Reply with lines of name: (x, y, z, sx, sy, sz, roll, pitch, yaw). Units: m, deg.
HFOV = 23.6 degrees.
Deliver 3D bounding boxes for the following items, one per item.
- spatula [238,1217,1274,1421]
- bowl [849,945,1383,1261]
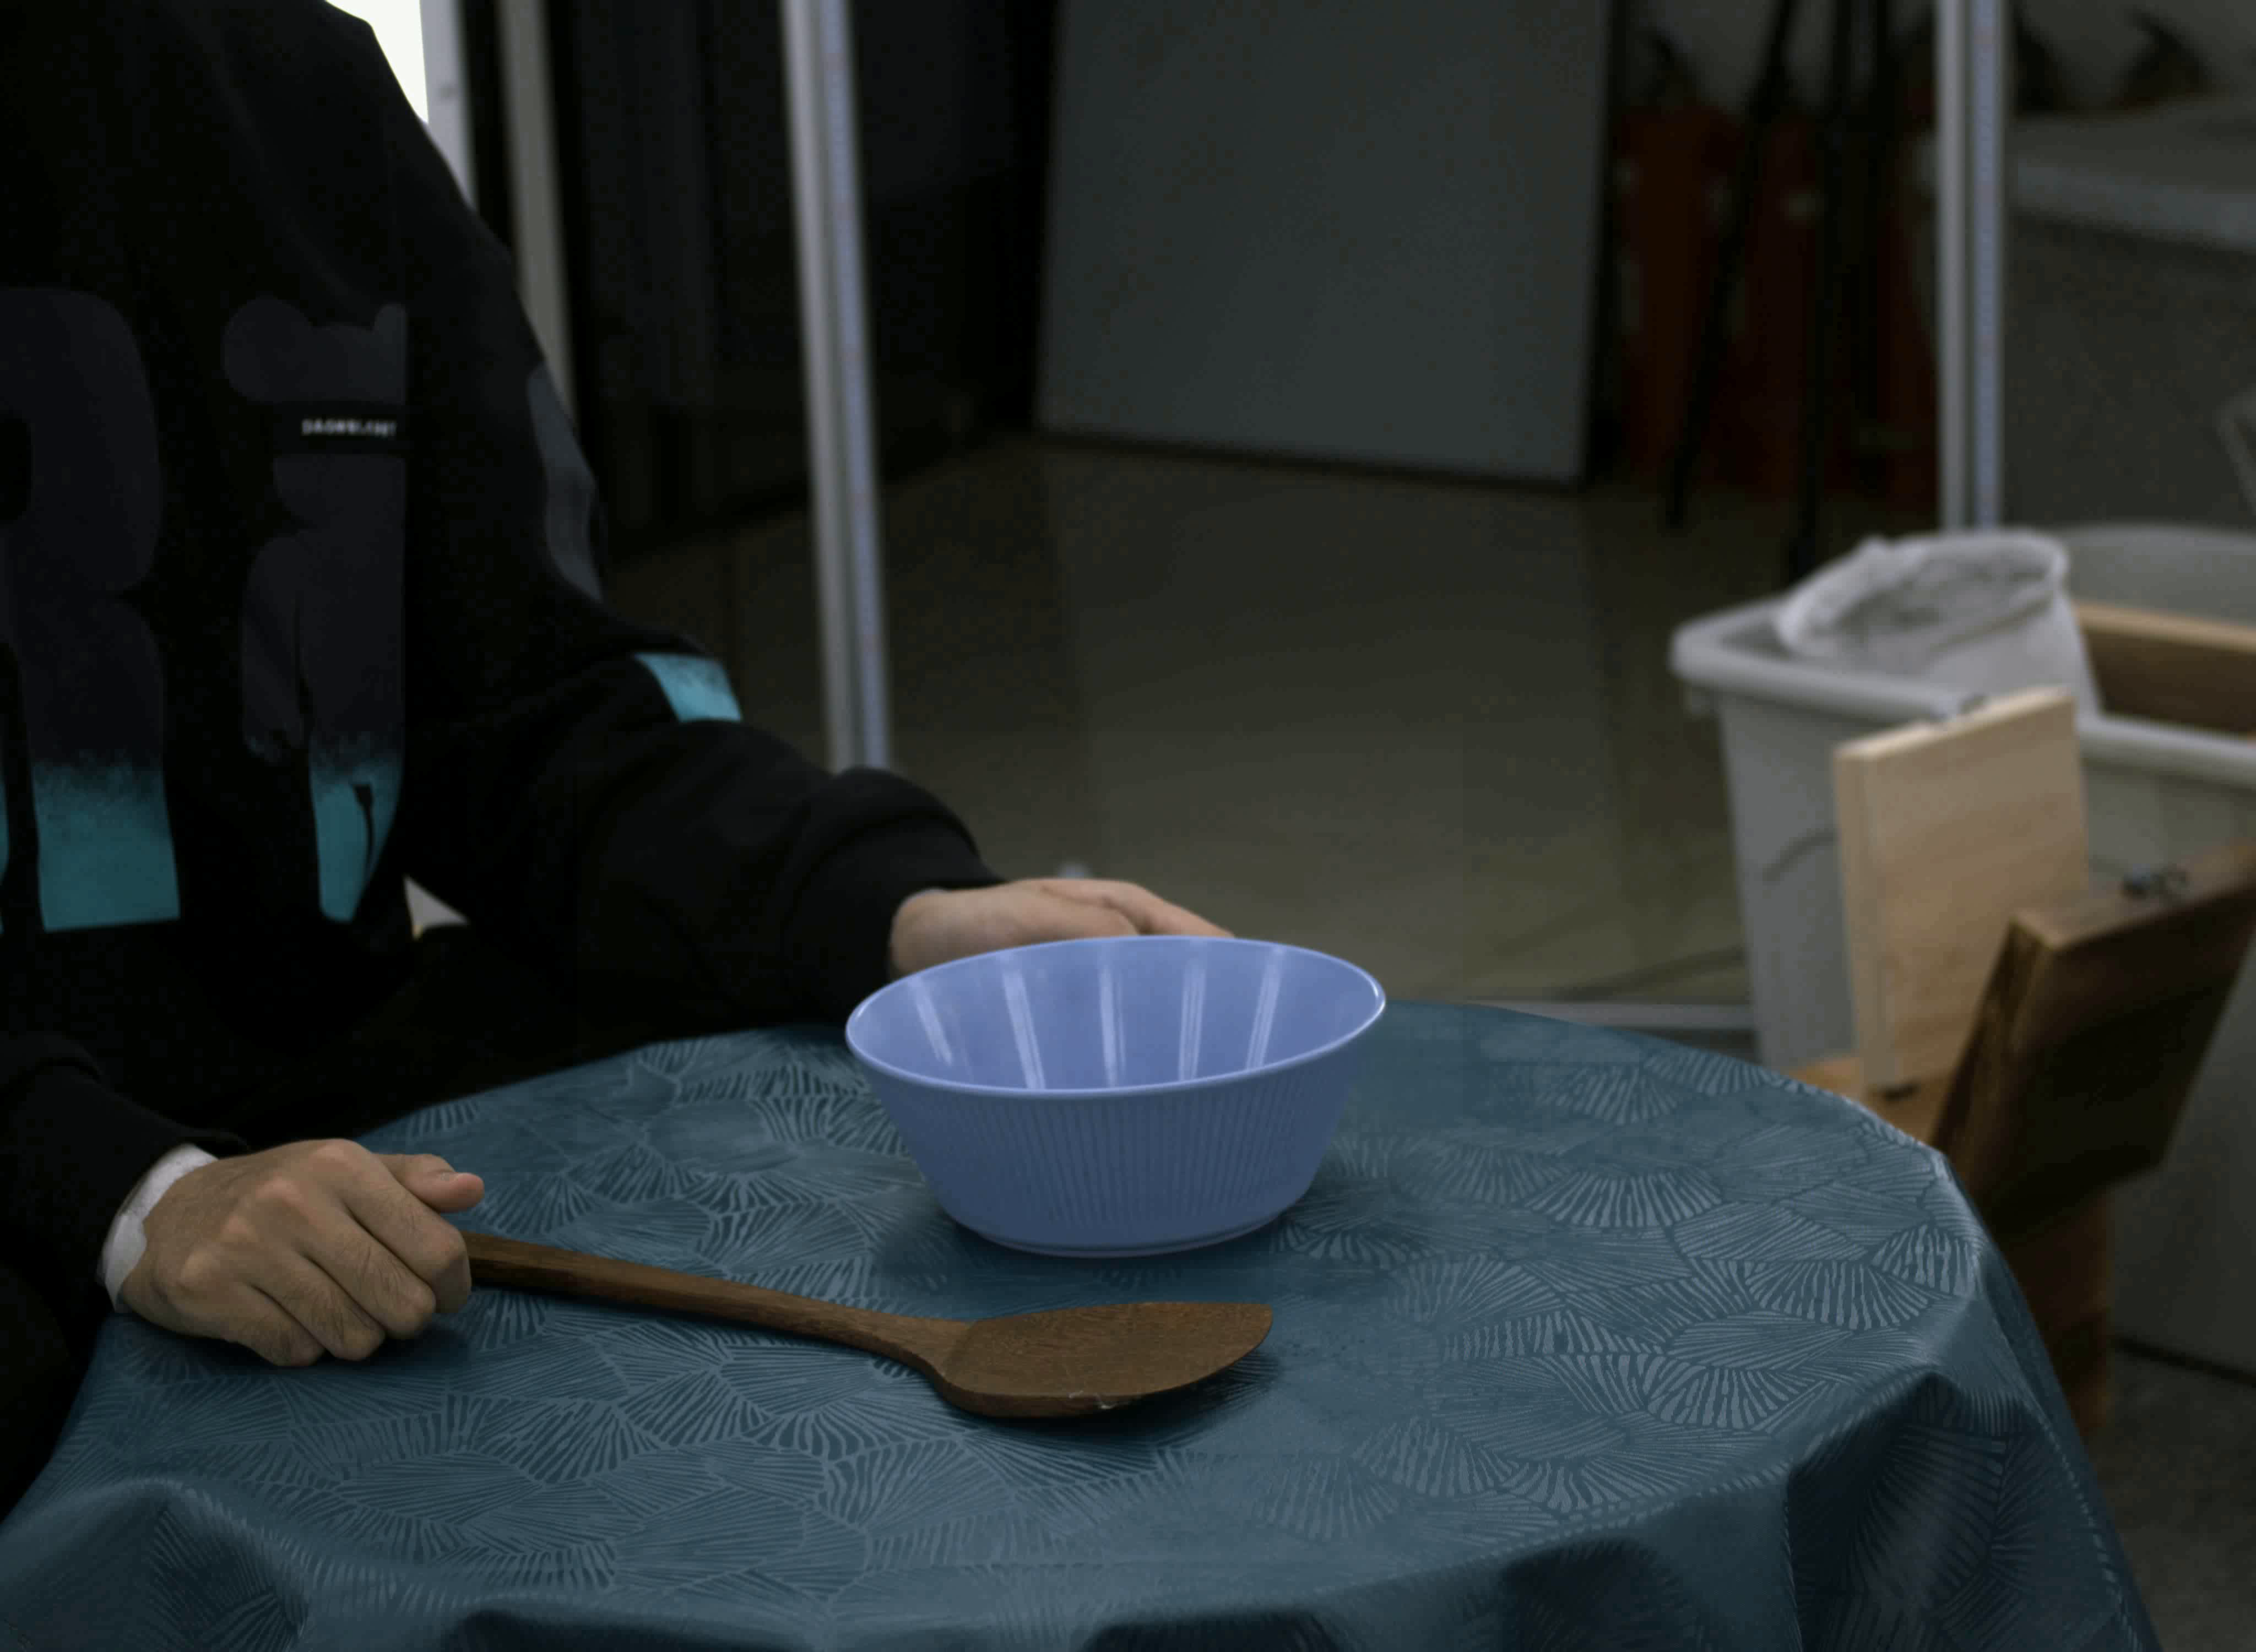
spatula: (-0.130, 0.148, 1.675, 0.388, 0.016, 0.094, 5, 16, 34)
bowl: (-0.001, 0.092, 1.747, 0.174, 0.071, 0.176, -5, 12, 0)
